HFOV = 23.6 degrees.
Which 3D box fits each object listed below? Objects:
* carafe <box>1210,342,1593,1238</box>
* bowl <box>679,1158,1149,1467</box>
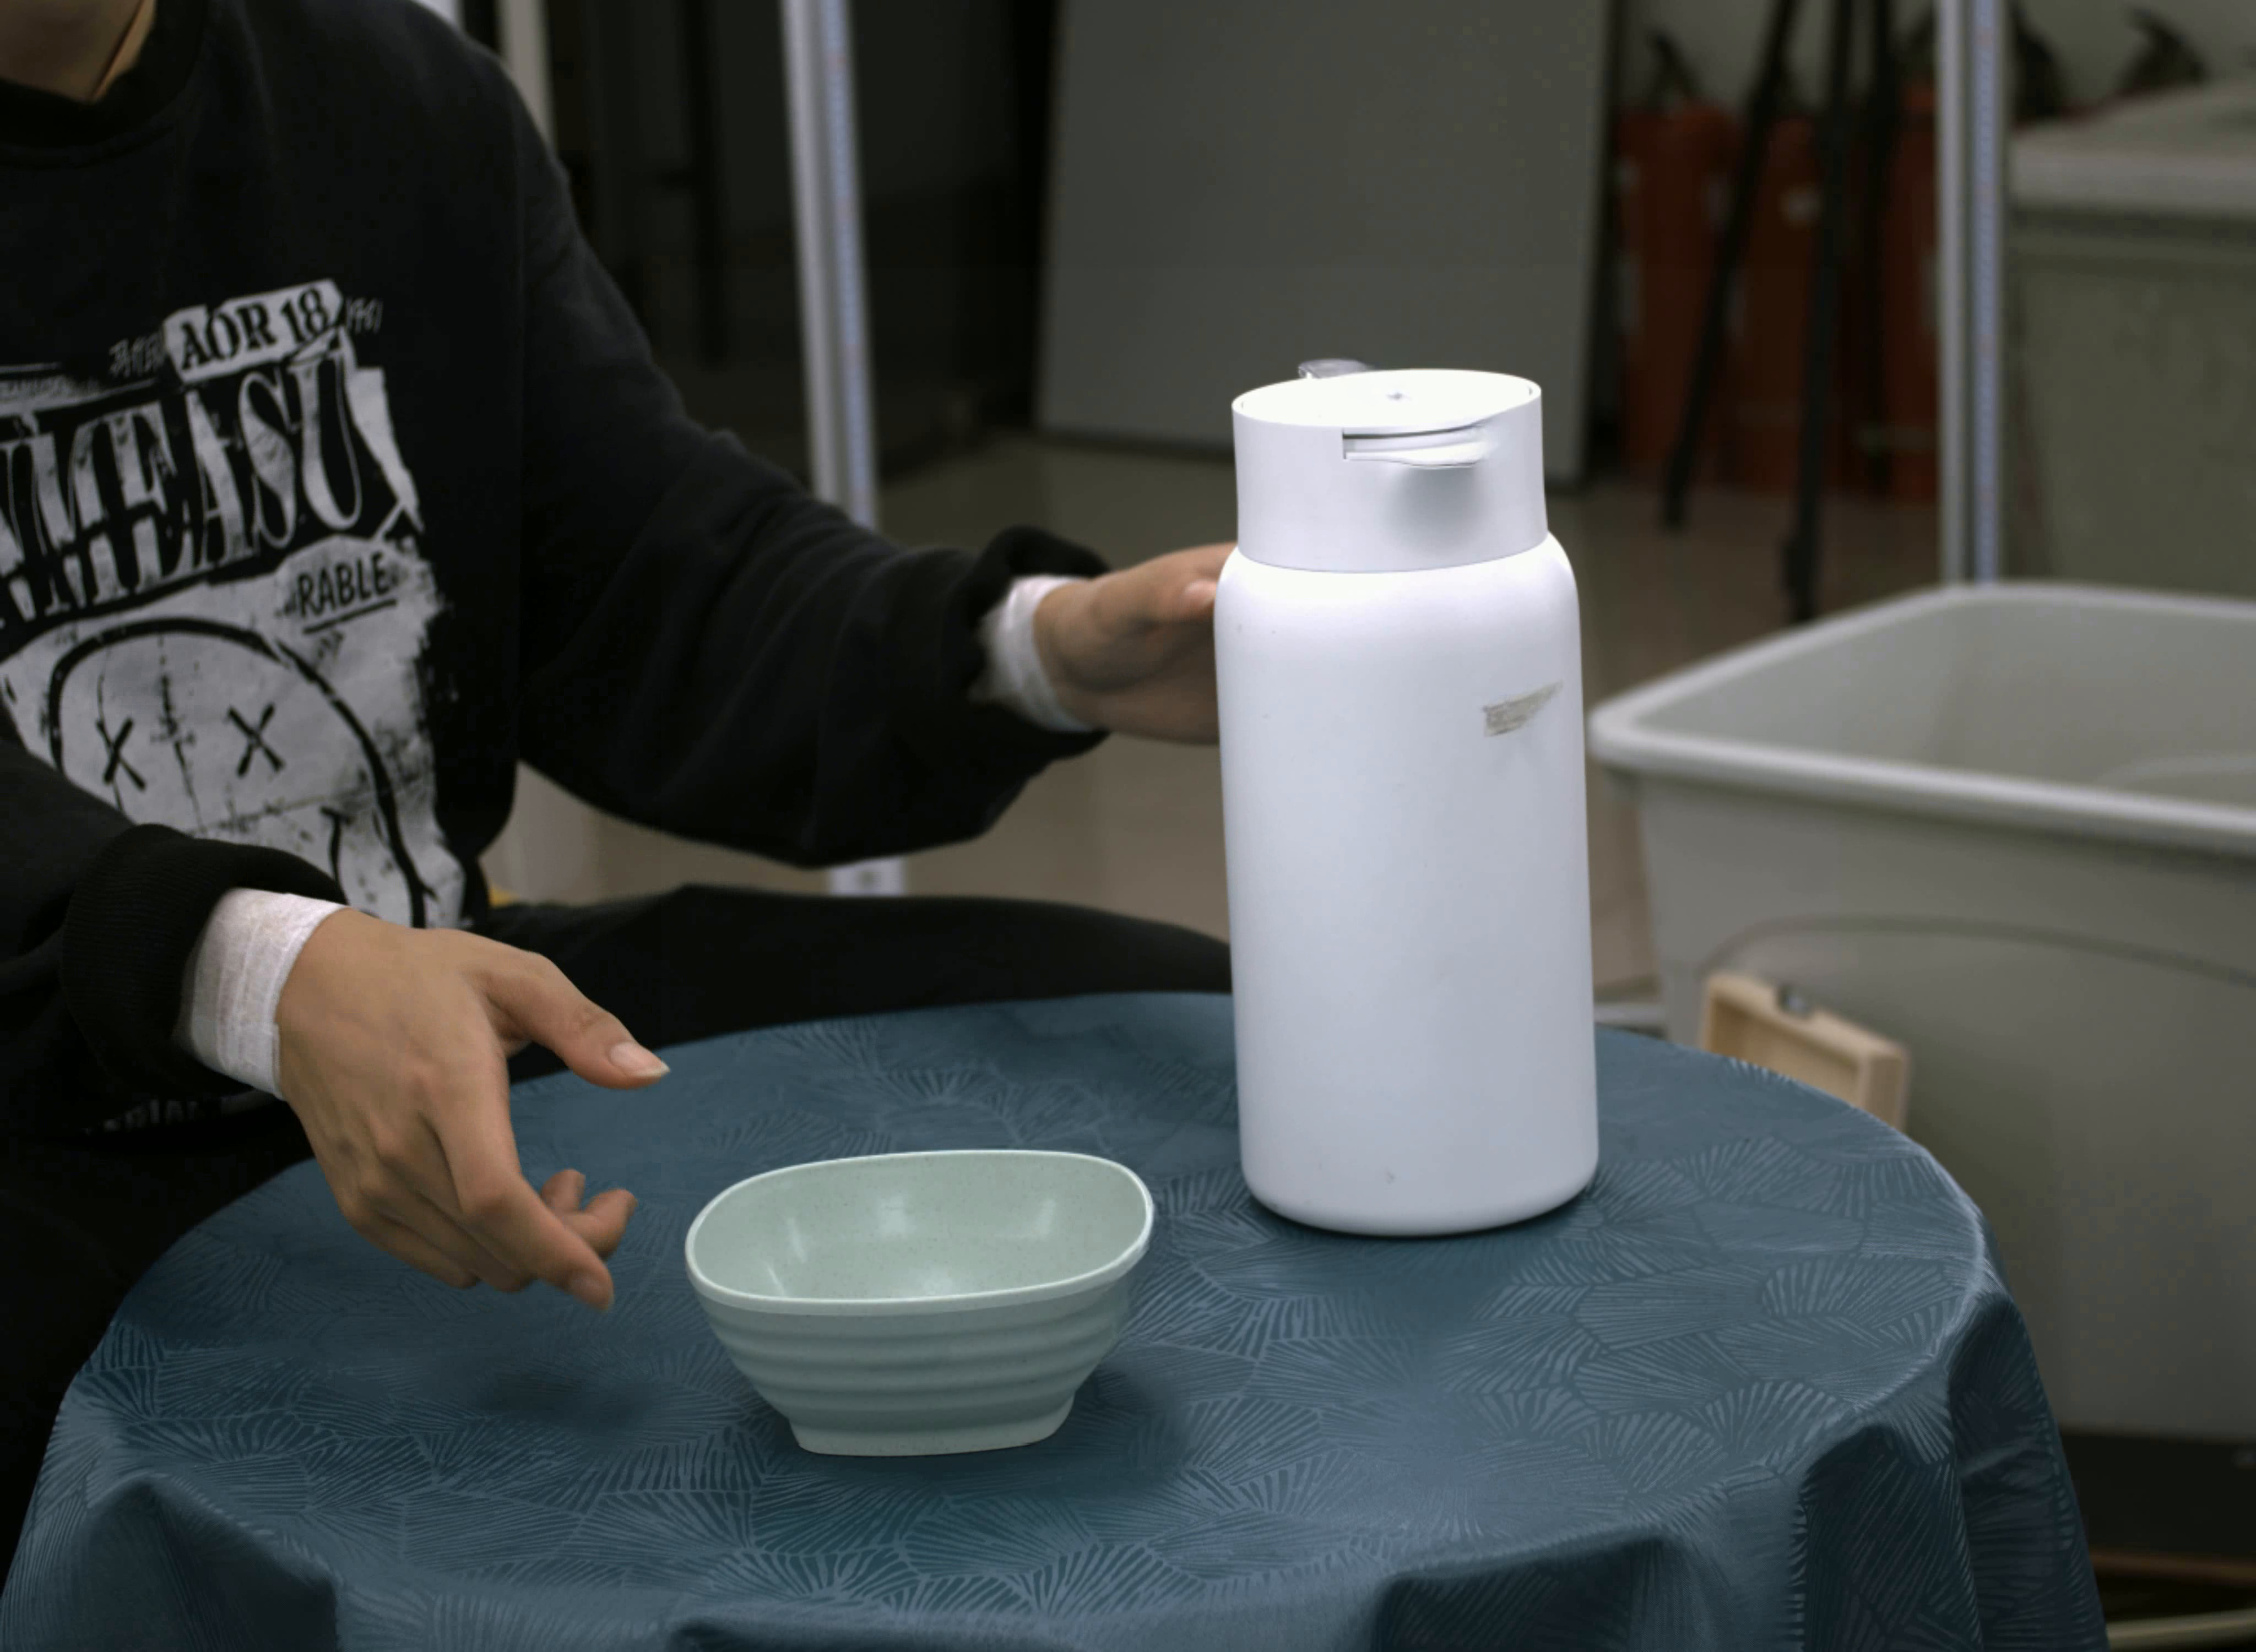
[{"bbox_3d":[0.081,-0.015,1.739,0.121,0.272,0.174,-9,14,-13],"label":"carafe"},{"bbox_3d":[-0.061,0.146,1.583,0.149,0.059,0.152,-4,14,0],"label":"bowl"}]
